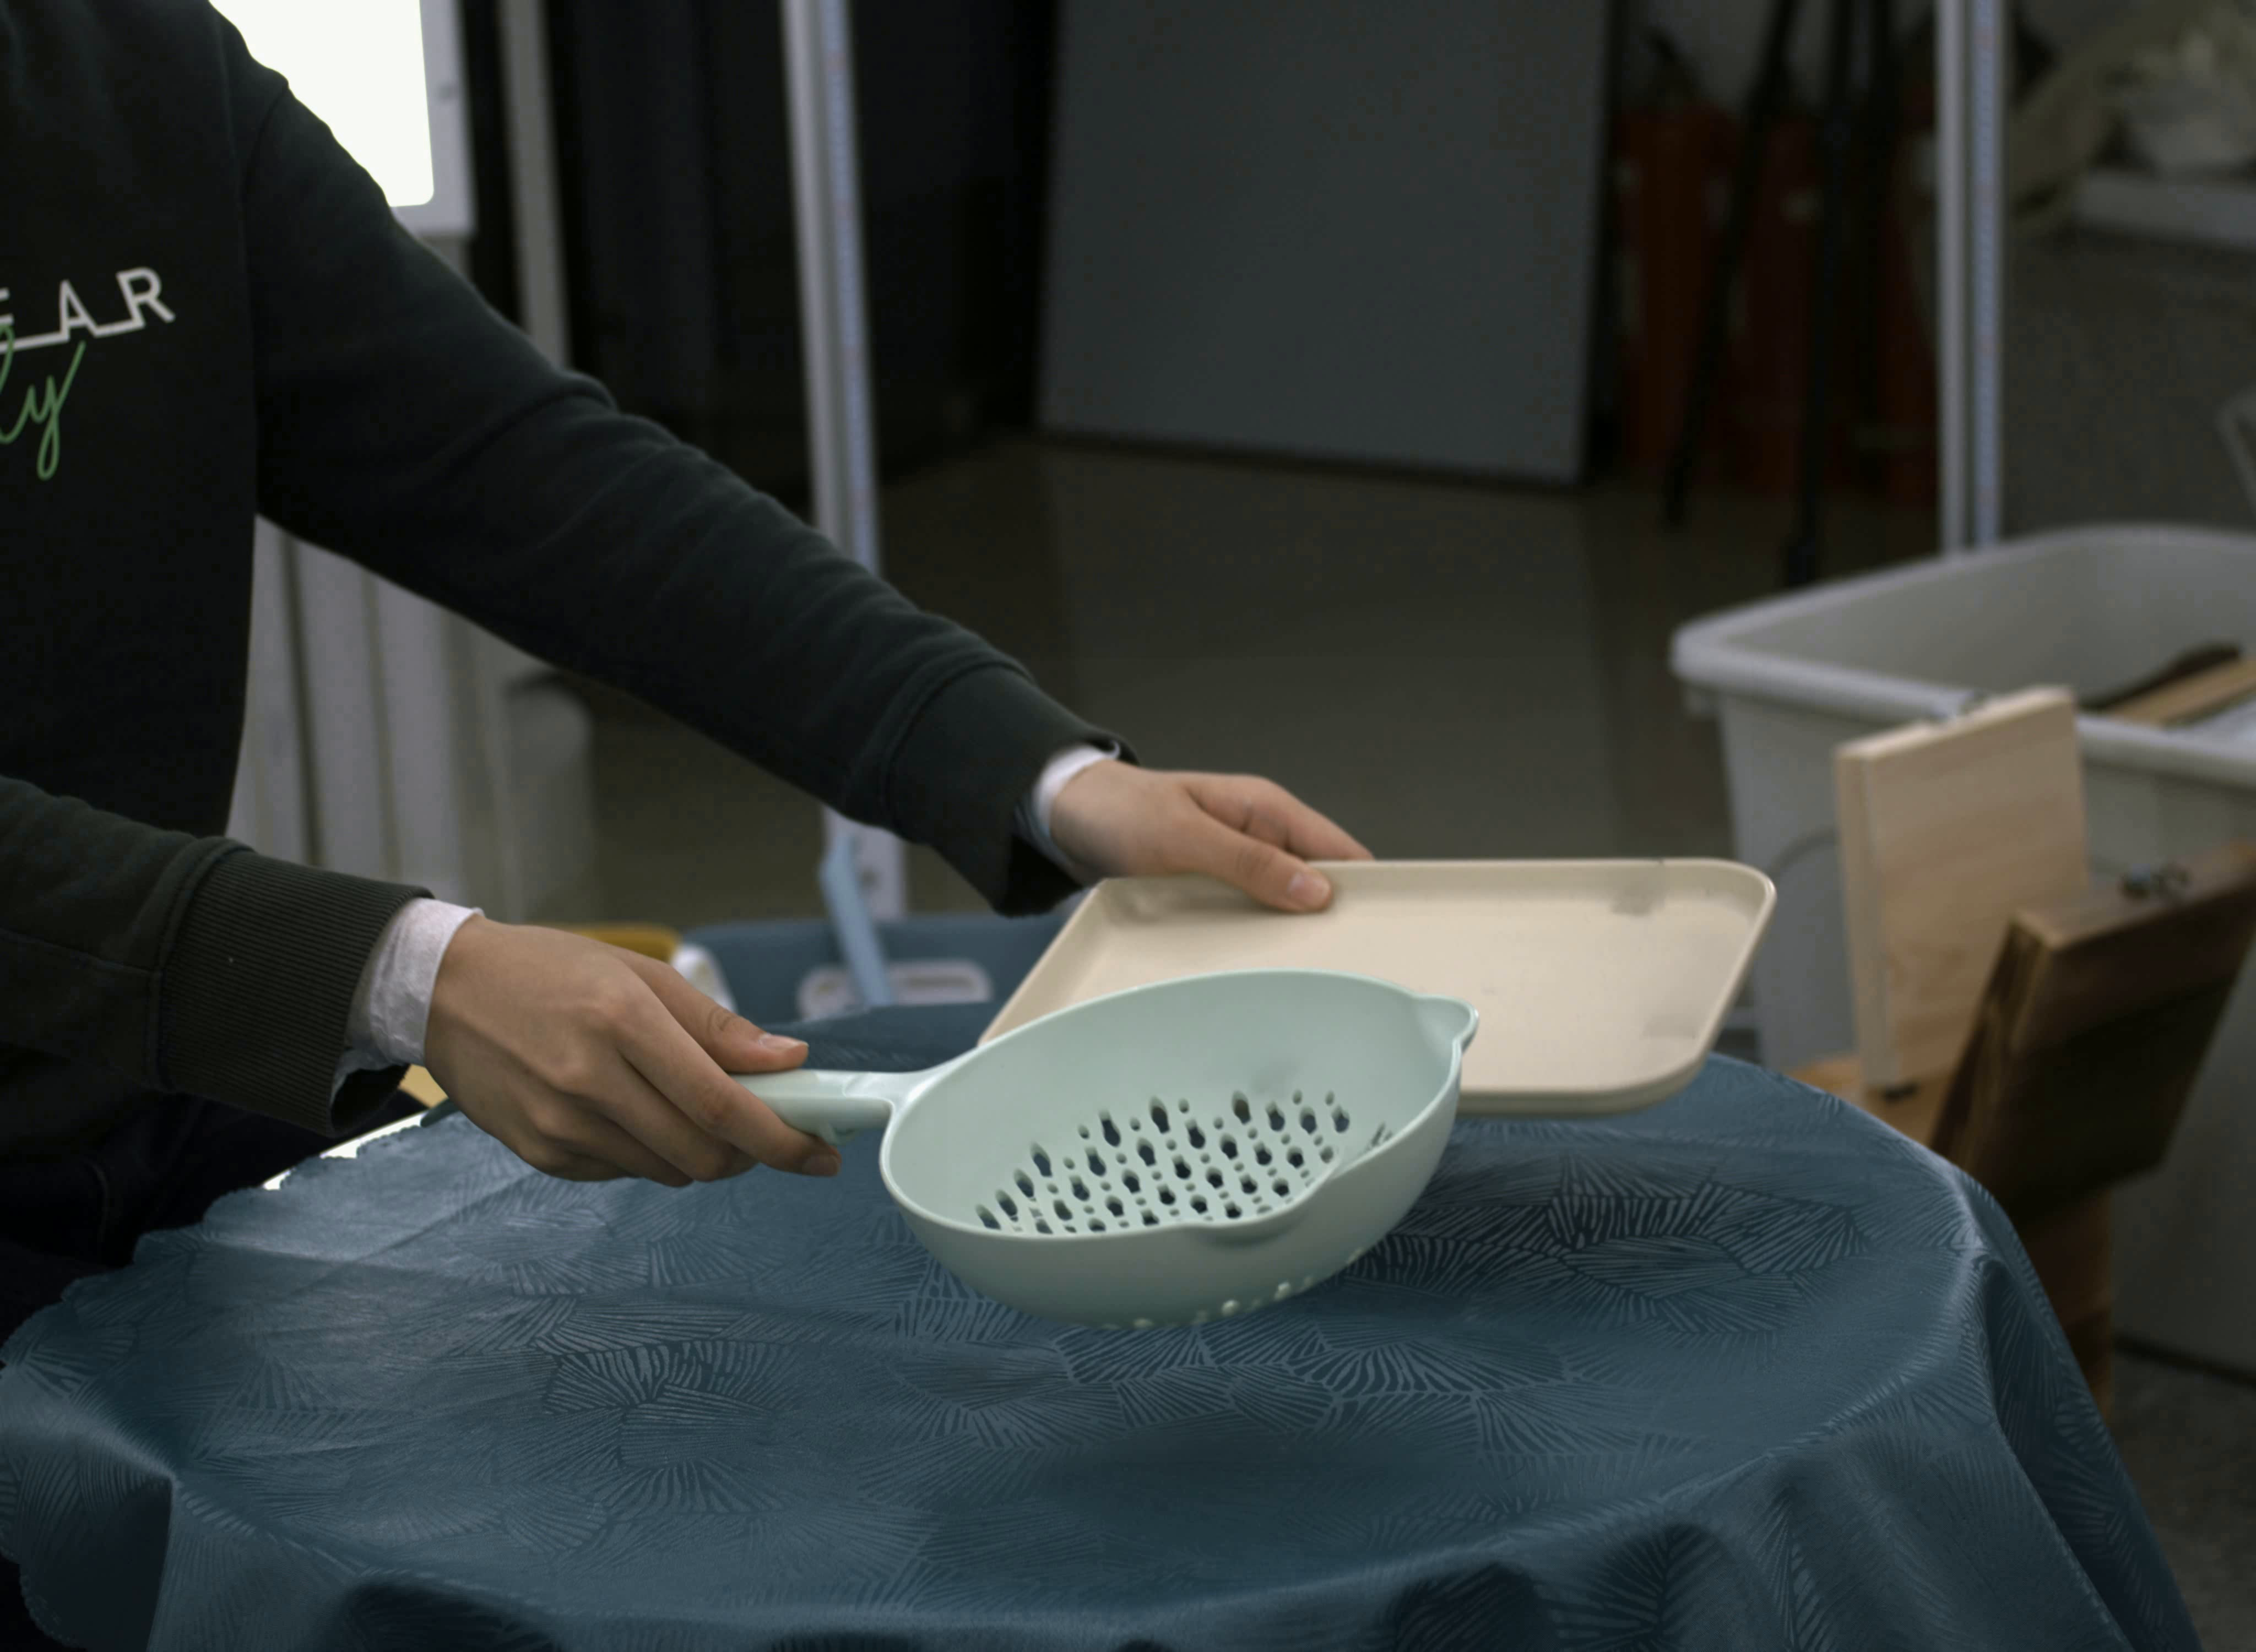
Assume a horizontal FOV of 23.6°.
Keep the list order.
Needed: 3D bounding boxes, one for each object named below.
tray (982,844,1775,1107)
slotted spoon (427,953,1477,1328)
[{"bbox_3d":[0.082,0.050,1.723,0.239,0.017,0.170,-2,23,21],"label":"tray"},{"bbox_3d":[-0.067,0.085,1.581,0.360,0.076,0.167,9,29,30],"label":"slotted spoon"}]
